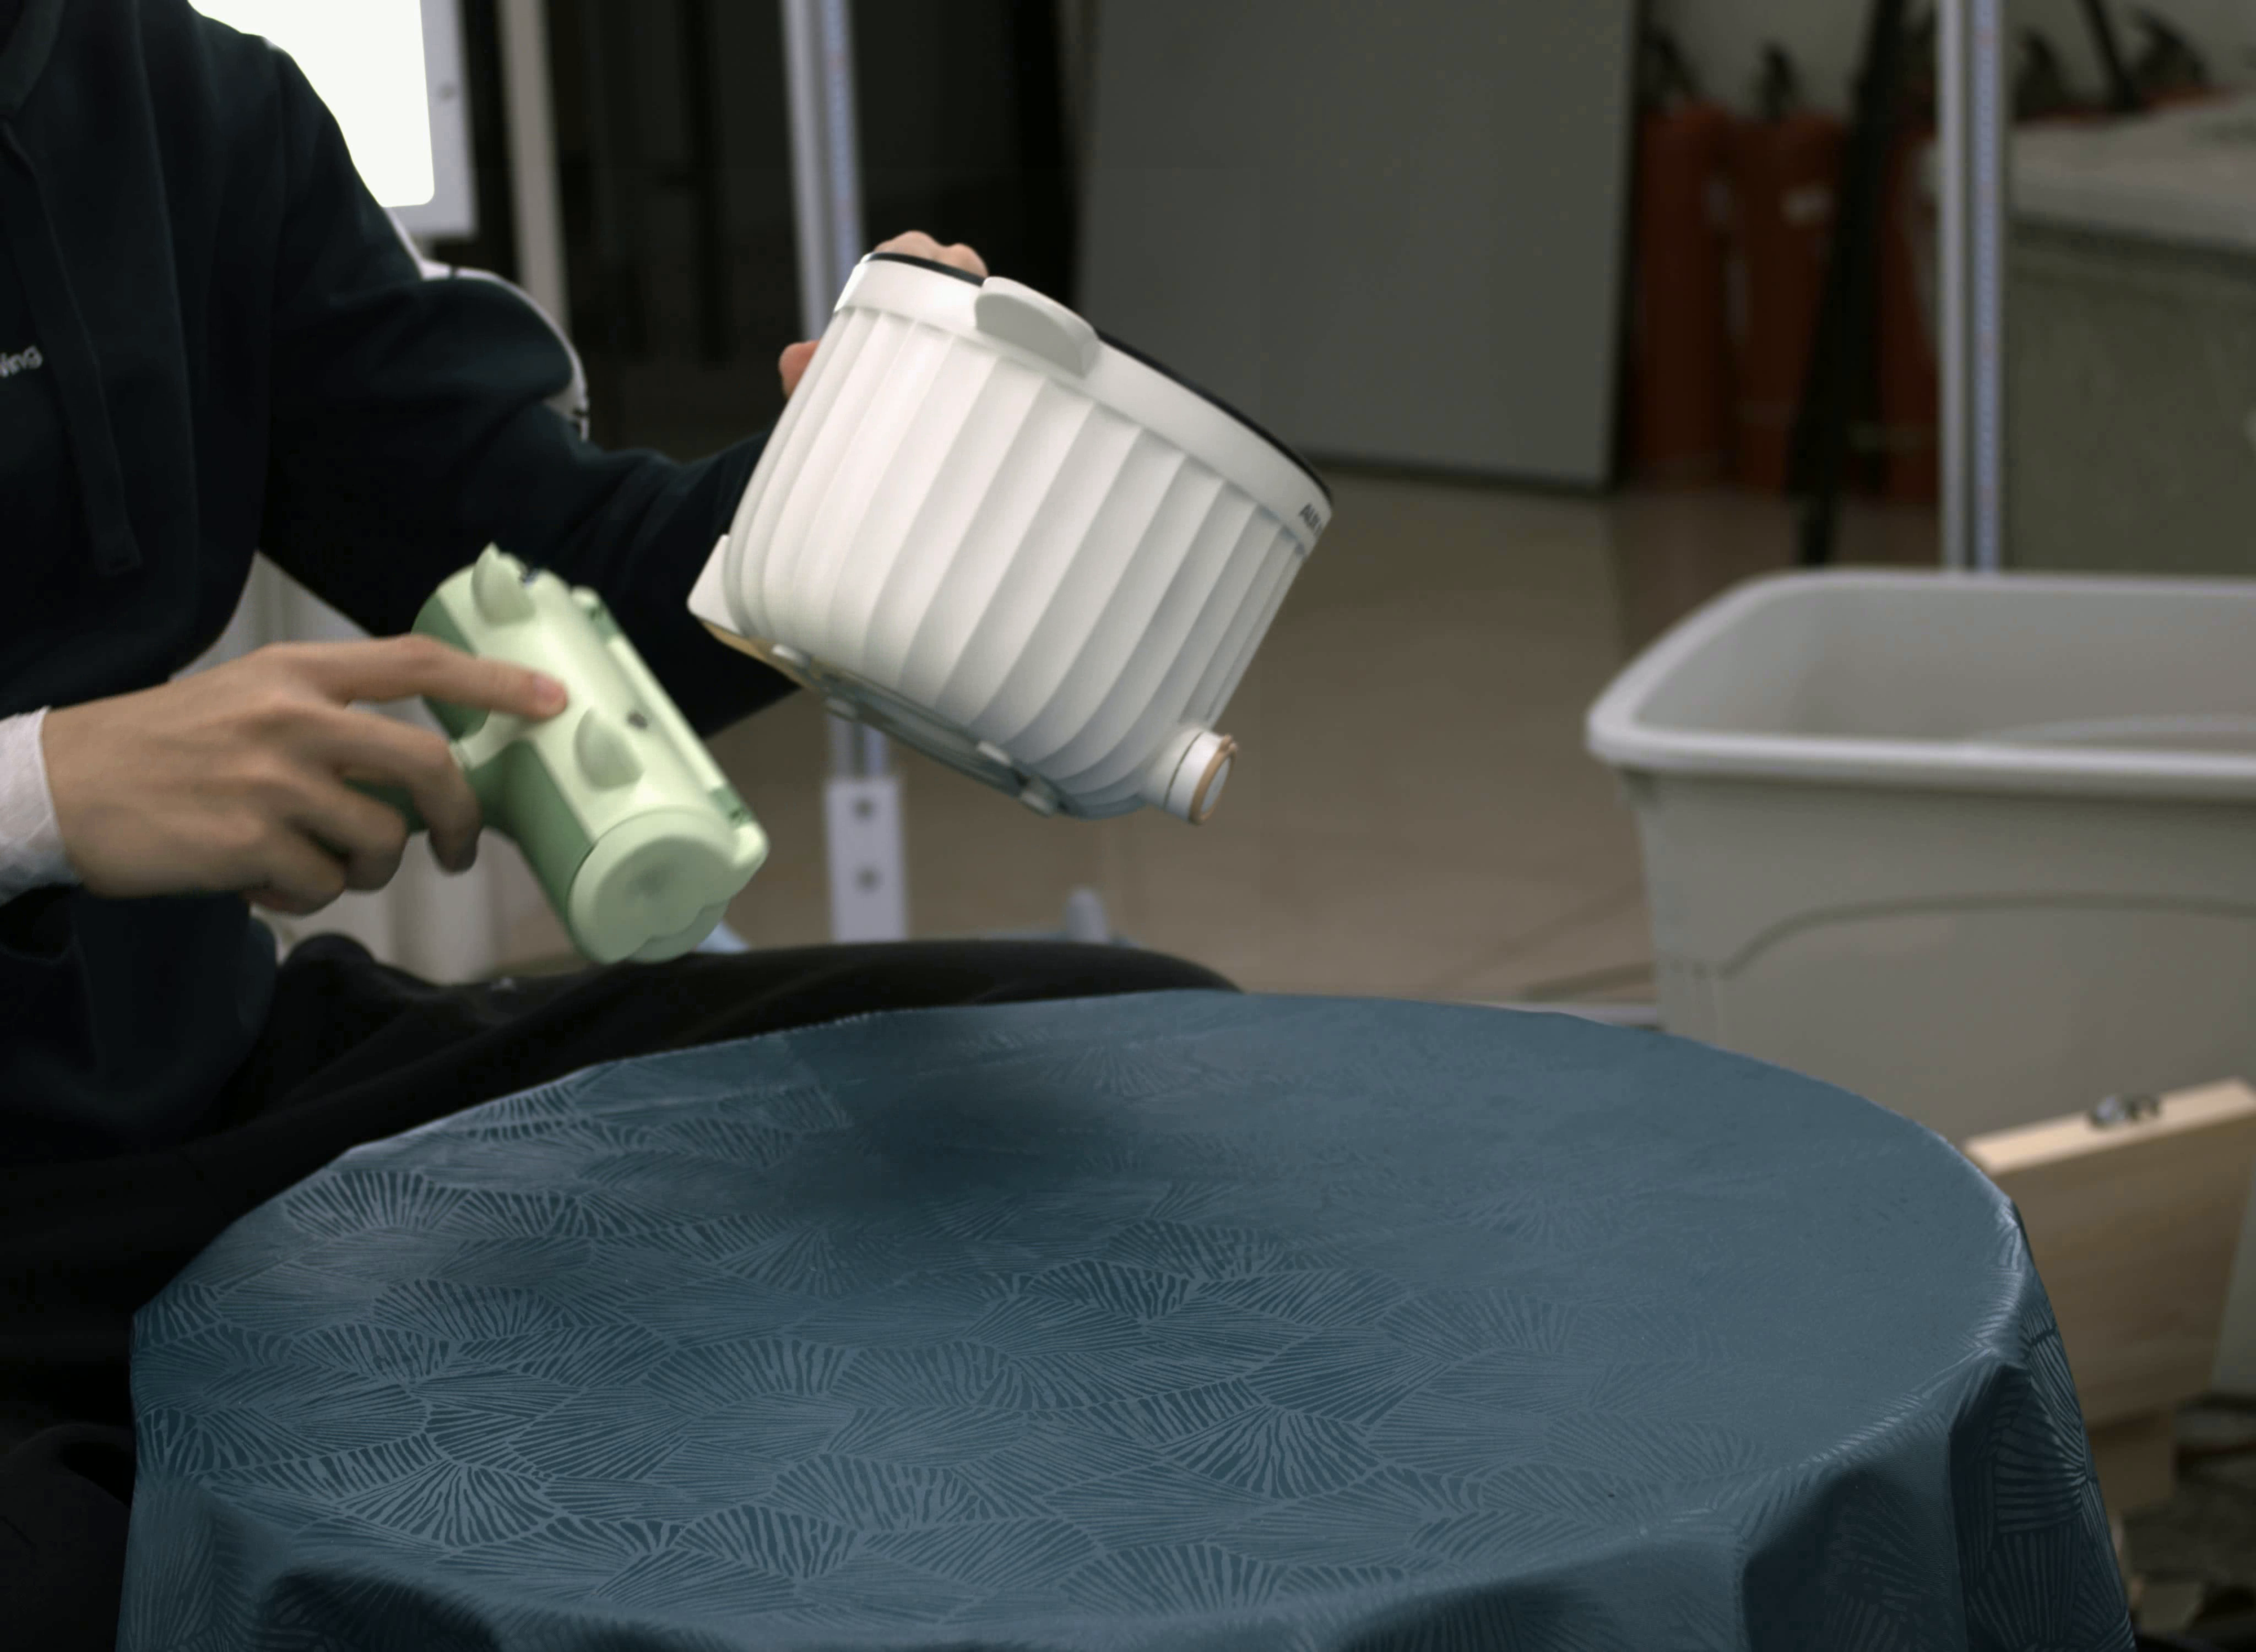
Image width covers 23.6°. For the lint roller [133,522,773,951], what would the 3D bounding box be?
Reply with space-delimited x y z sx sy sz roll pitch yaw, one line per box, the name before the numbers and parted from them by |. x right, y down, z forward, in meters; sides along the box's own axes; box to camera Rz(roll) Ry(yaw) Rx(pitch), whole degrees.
lint roller | -0.227 -0.030 1.732 0.179 0.083 0.201 -6 31 -22

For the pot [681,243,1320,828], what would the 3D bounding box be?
pot | -0.039 -0.088 1.813 0.190 0.143 0.239 23 -7 14
